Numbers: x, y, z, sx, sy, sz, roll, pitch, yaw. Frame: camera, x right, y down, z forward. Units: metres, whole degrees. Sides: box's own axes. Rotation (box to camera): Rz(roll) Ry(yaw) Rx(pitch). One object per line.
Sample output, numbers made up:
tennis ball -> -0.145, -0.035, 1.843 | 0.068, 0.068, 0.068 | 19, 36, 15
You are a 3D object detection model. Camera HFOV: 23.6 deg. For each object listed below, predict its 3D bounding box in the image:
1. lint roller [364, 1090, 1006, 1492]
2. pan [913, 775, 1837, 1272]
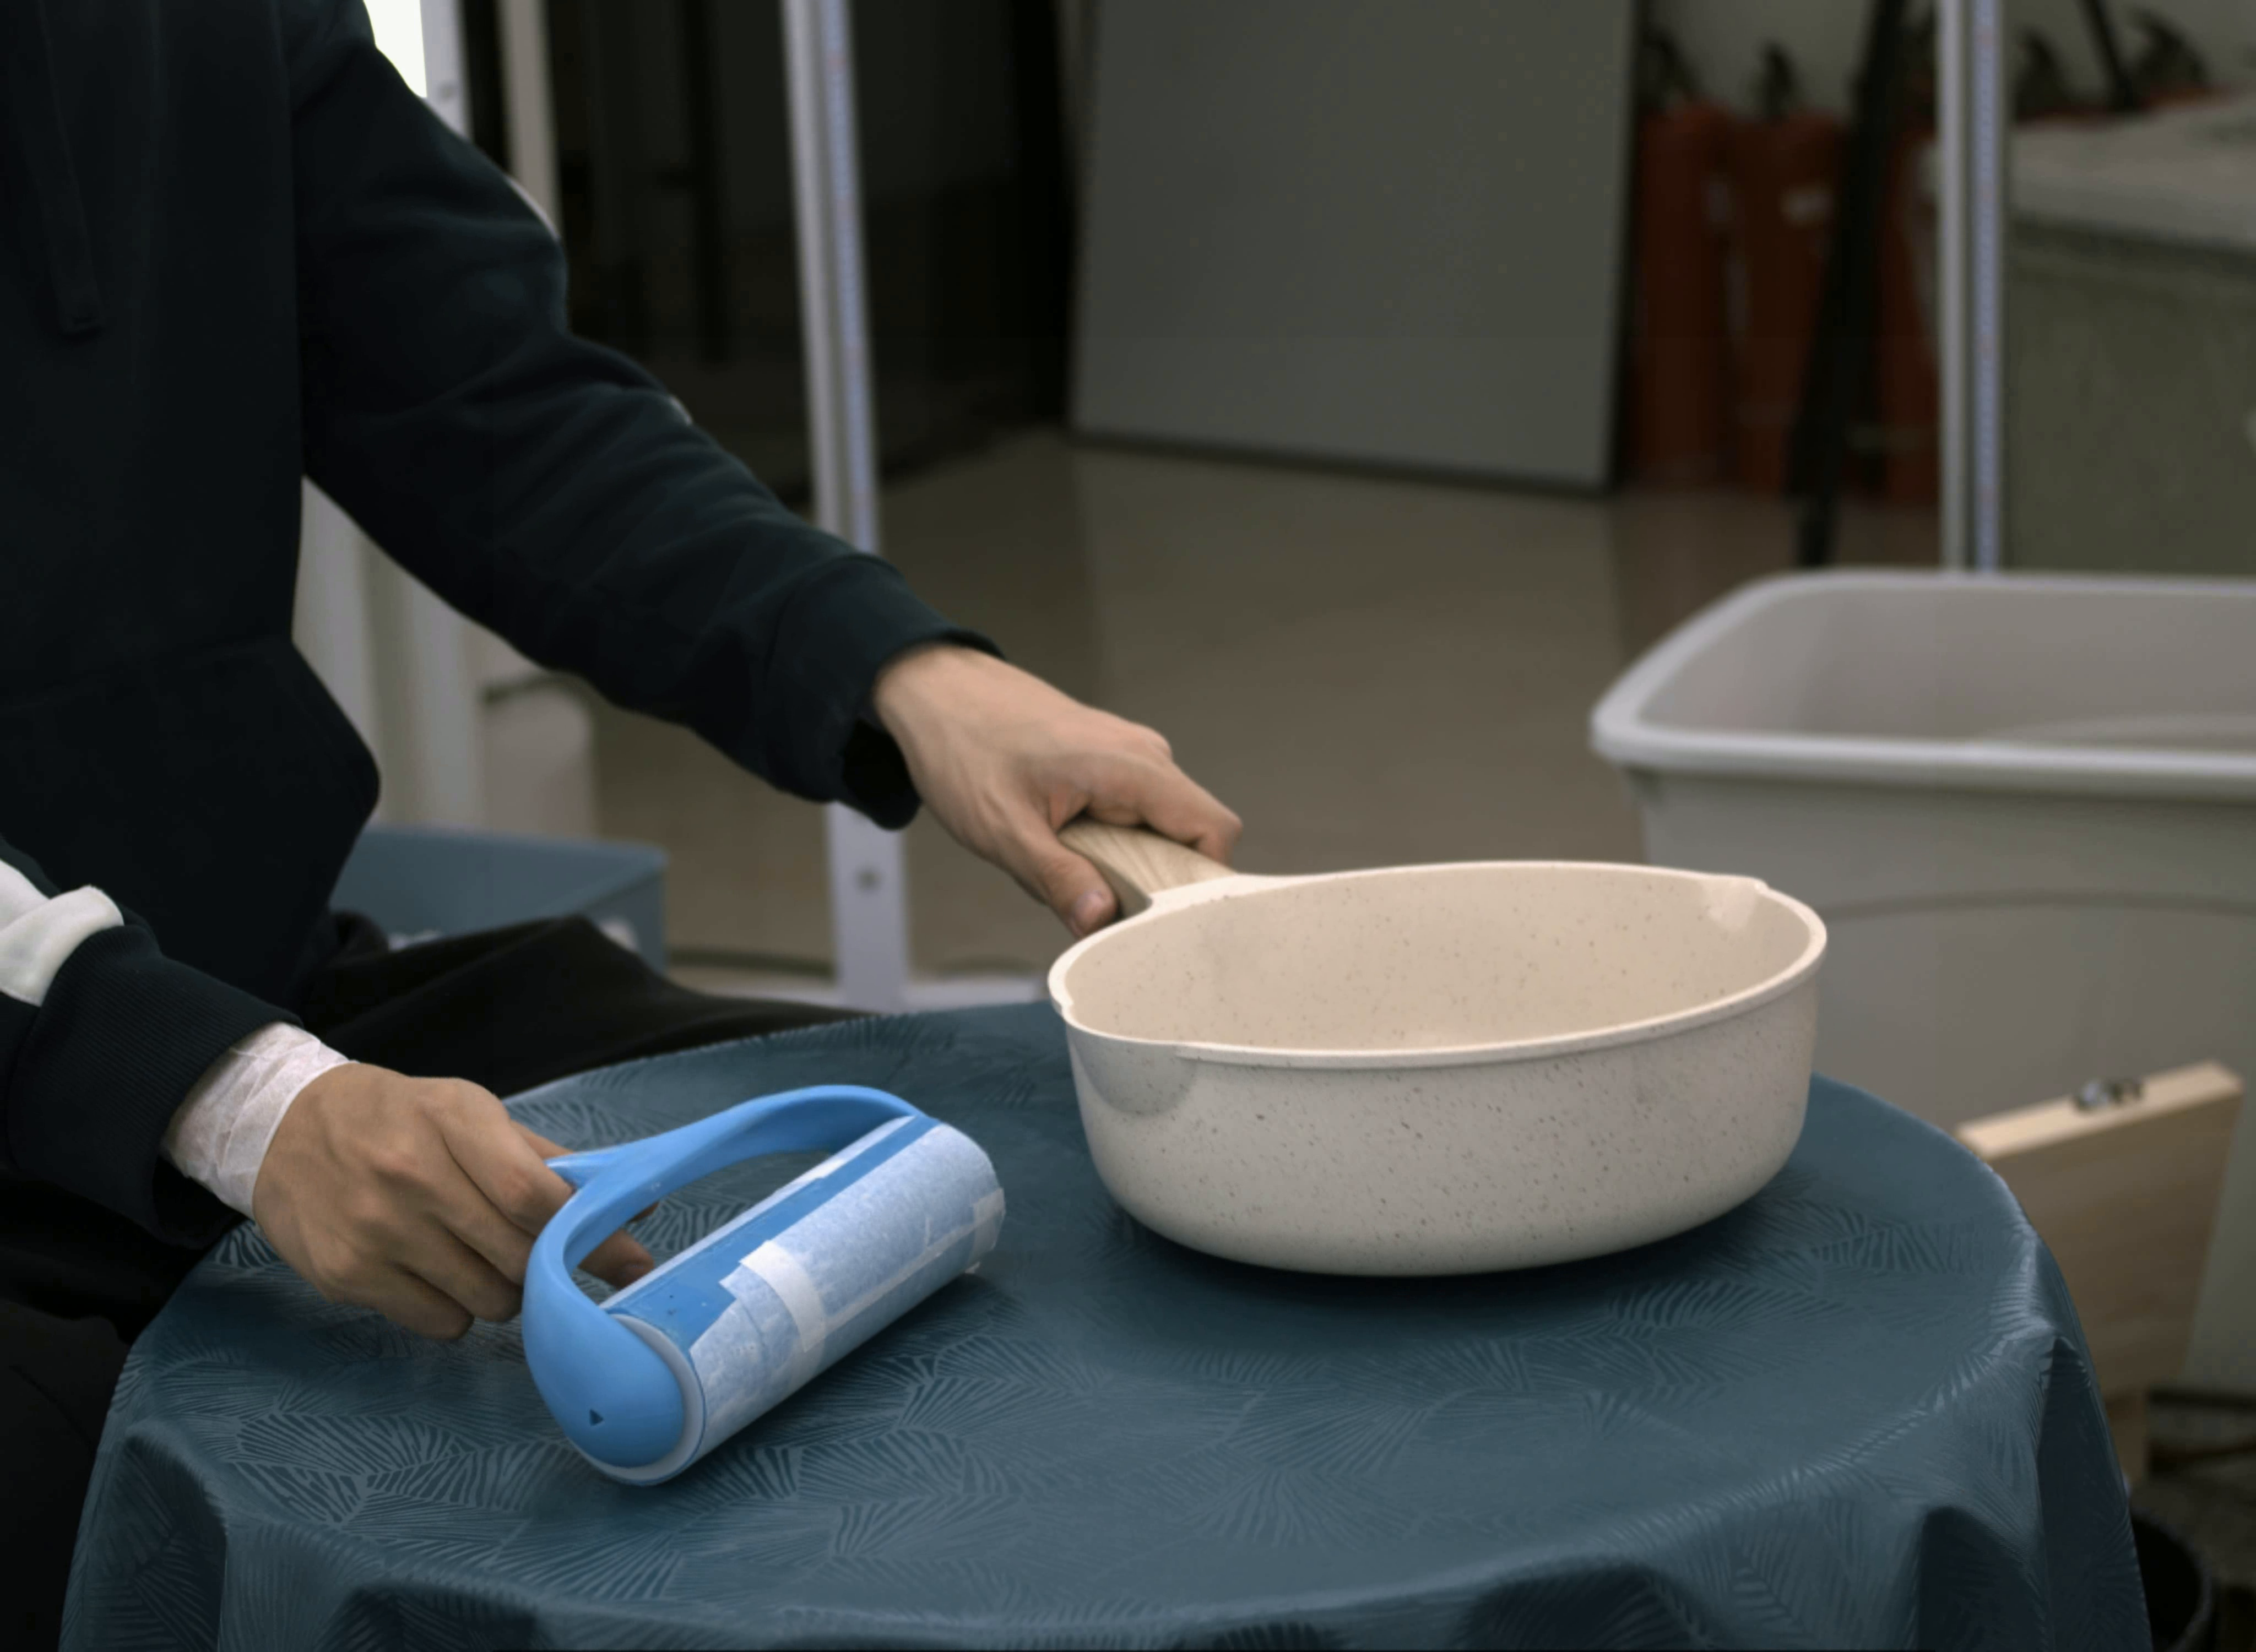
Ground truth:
lint roller -> -0.155, 0.133, 1.637 | 0.180, 0.068, 0.226 | 6, 18, 22
pan -> 0.055, 0.058, 1.802 | 0.257, 0.103, 0.439 | -13, 14, -31
